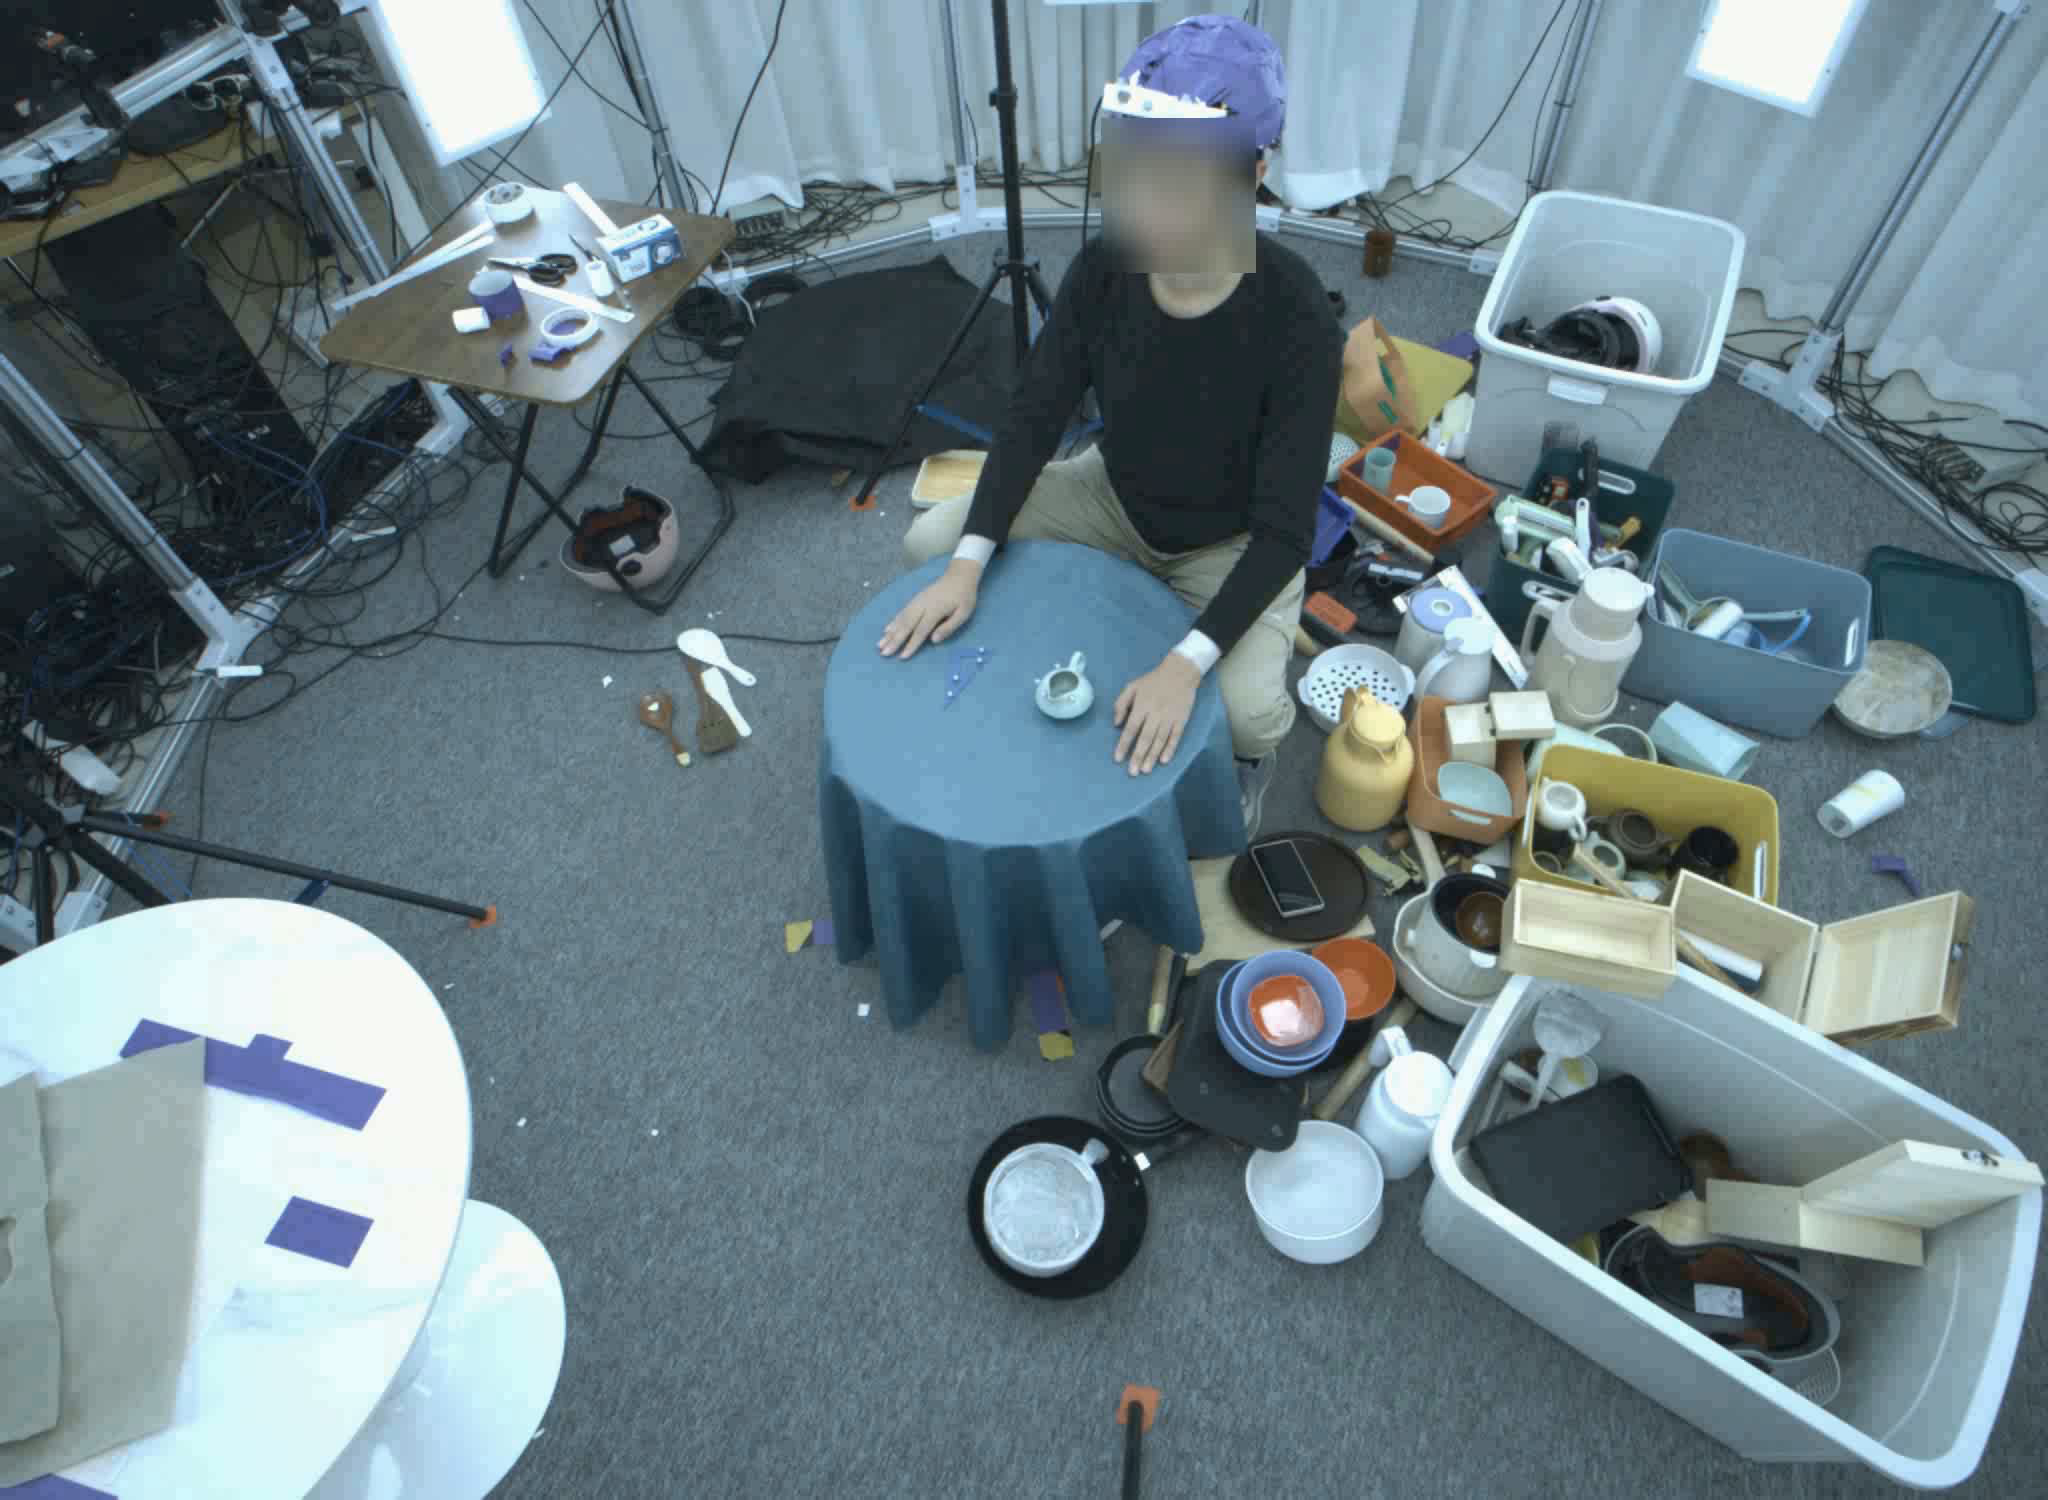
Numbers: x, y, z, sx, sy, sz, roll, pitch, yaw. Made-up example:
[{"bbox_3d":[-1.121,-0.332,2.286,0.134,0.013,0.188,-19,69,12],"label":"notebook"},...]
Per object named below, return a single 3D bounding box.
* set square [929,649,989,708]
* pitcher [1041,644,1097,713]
[{"bbox_3d":[-0.116,-0.119,1.873,0.060,0.006,0.132,32,62,20],"label":"set square"},{"bbox_3d":[0.070,-0.106,1.818,0.084,0.061,0.108,31,79,33],"label":"pitcher"}]
